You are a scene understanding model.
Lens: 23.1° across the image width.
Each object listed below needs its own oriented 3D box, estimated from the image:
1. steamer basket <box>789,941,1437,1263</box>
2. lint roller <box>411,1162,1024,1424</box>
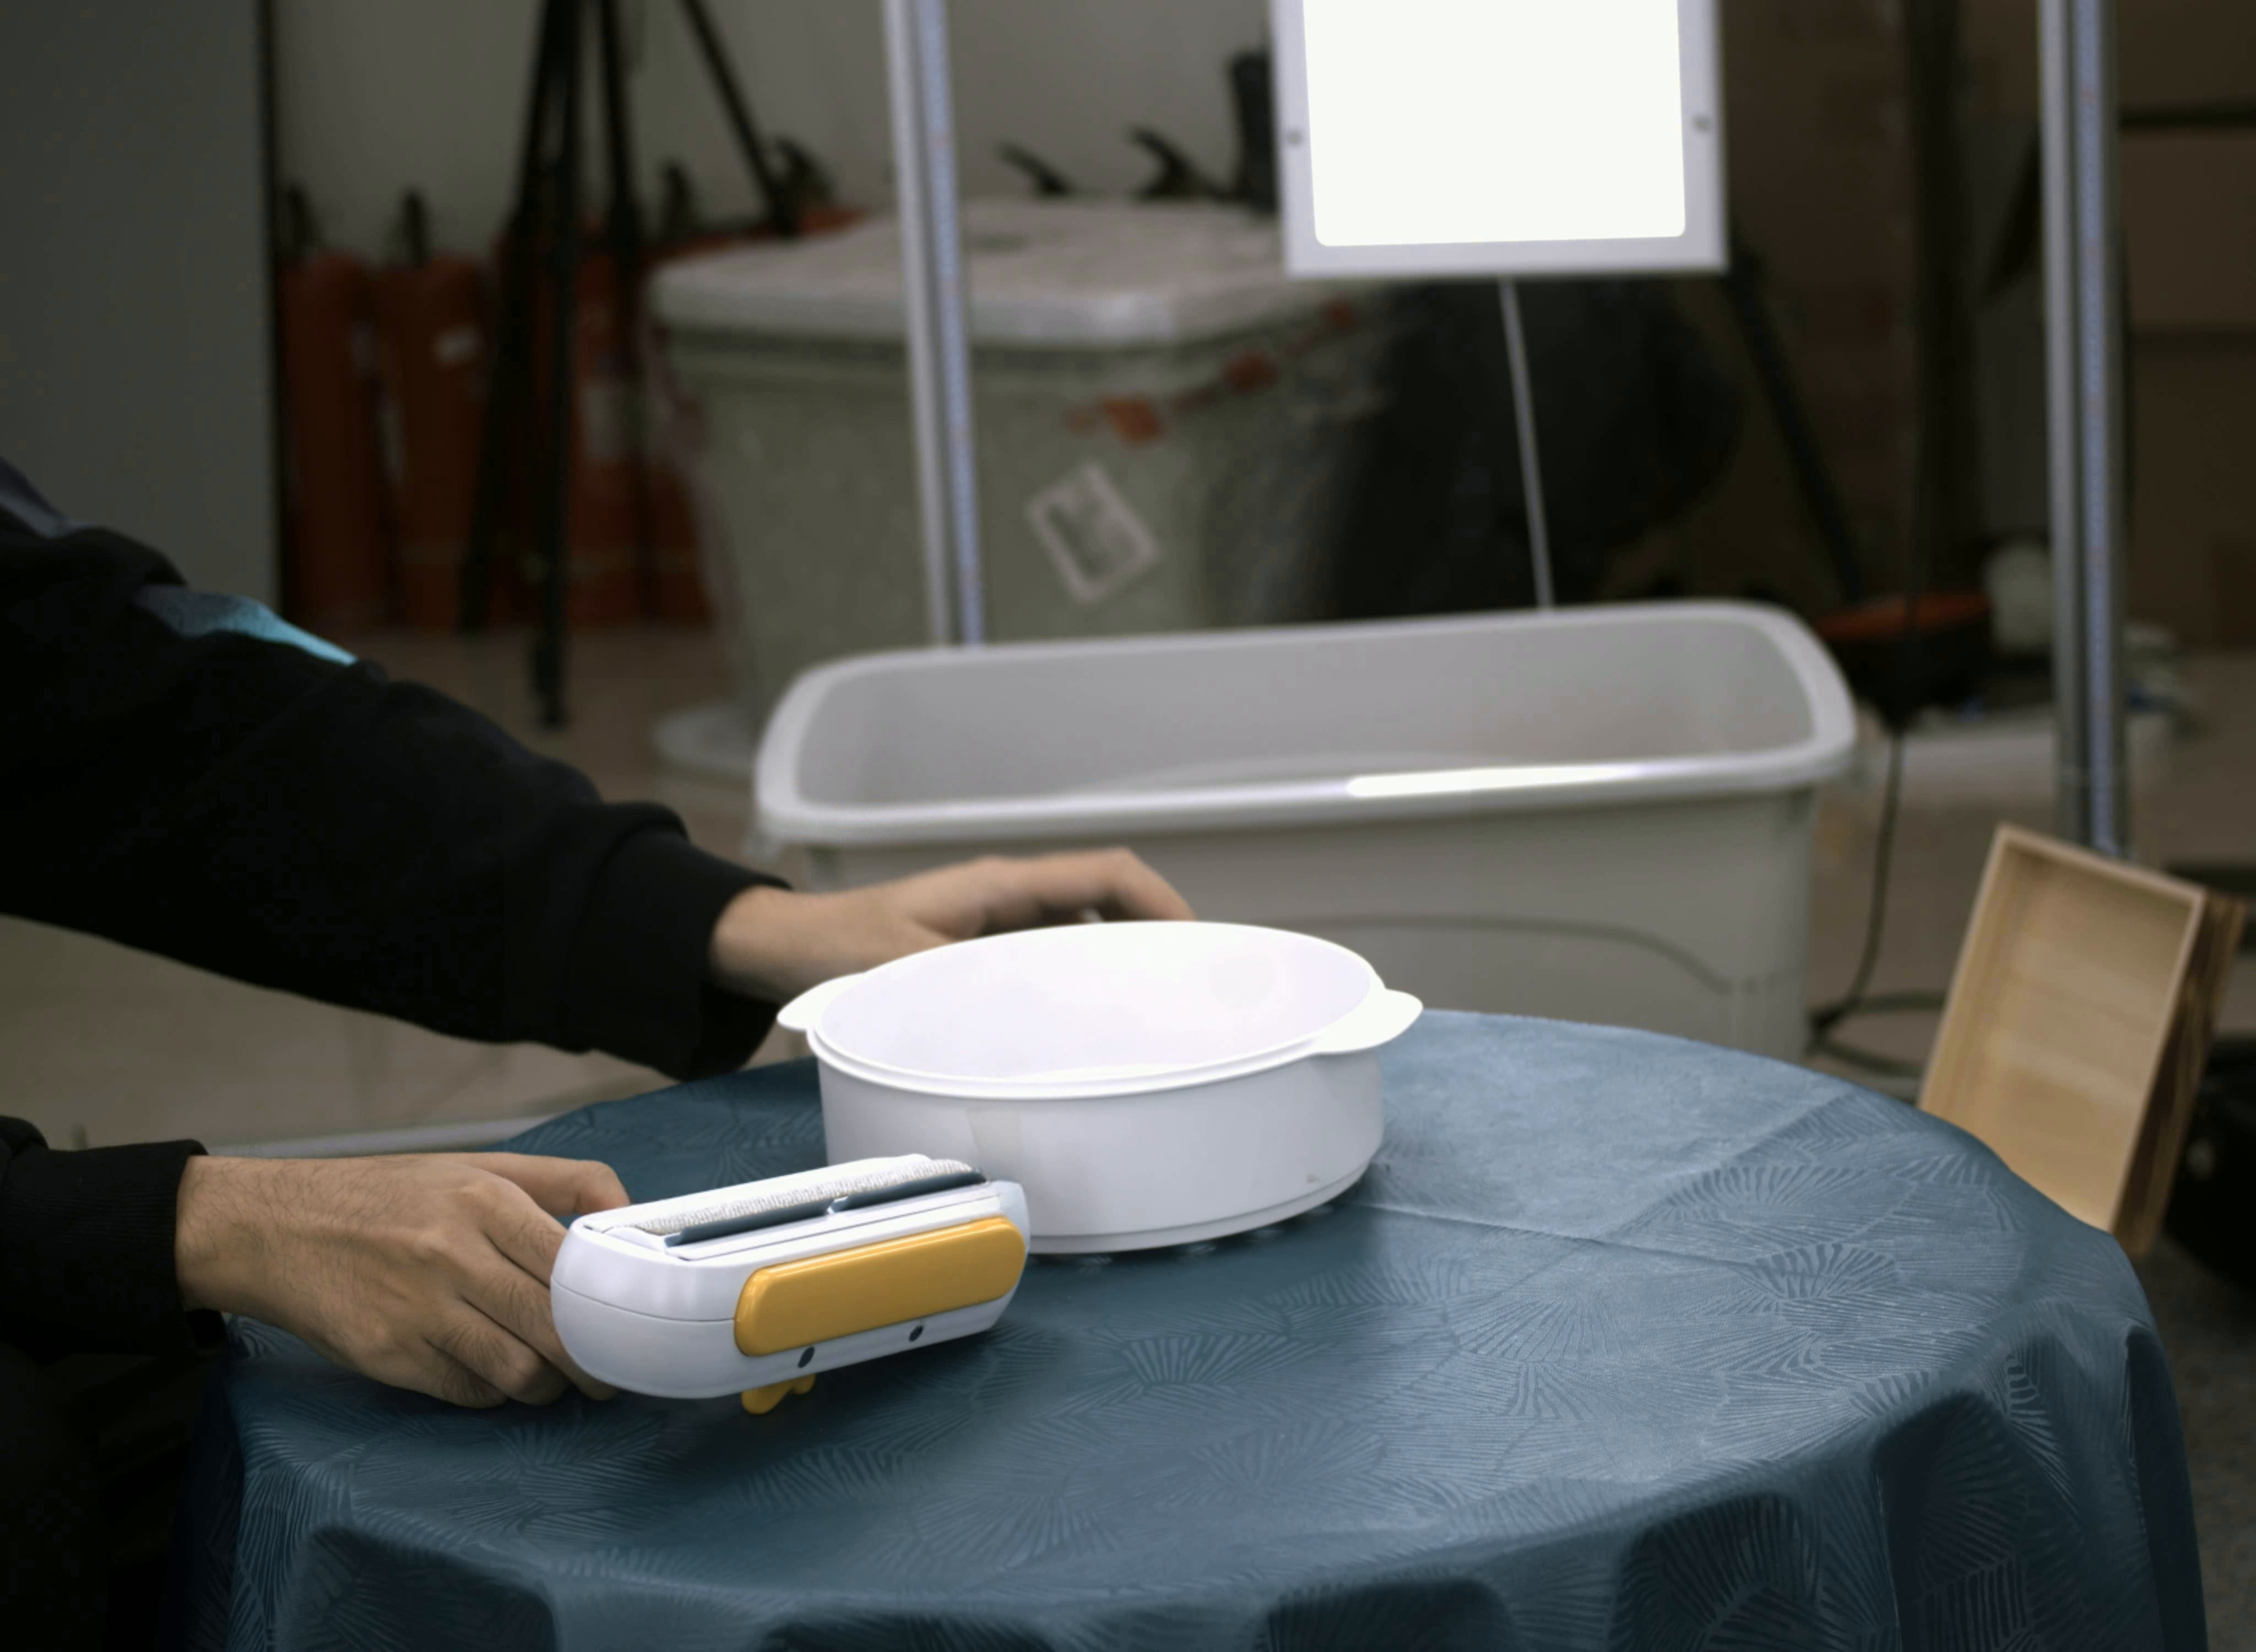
[{"bbox_3d":[-0.004,0.095,1.898,0.234,0.069,0.198,-2,12,24],"label":"steamer basket"},{"bbox_3d":[-0.153,0.143,1.742,0.196,0.074,0.188,4,11,39],"label":"lint roller"}]
